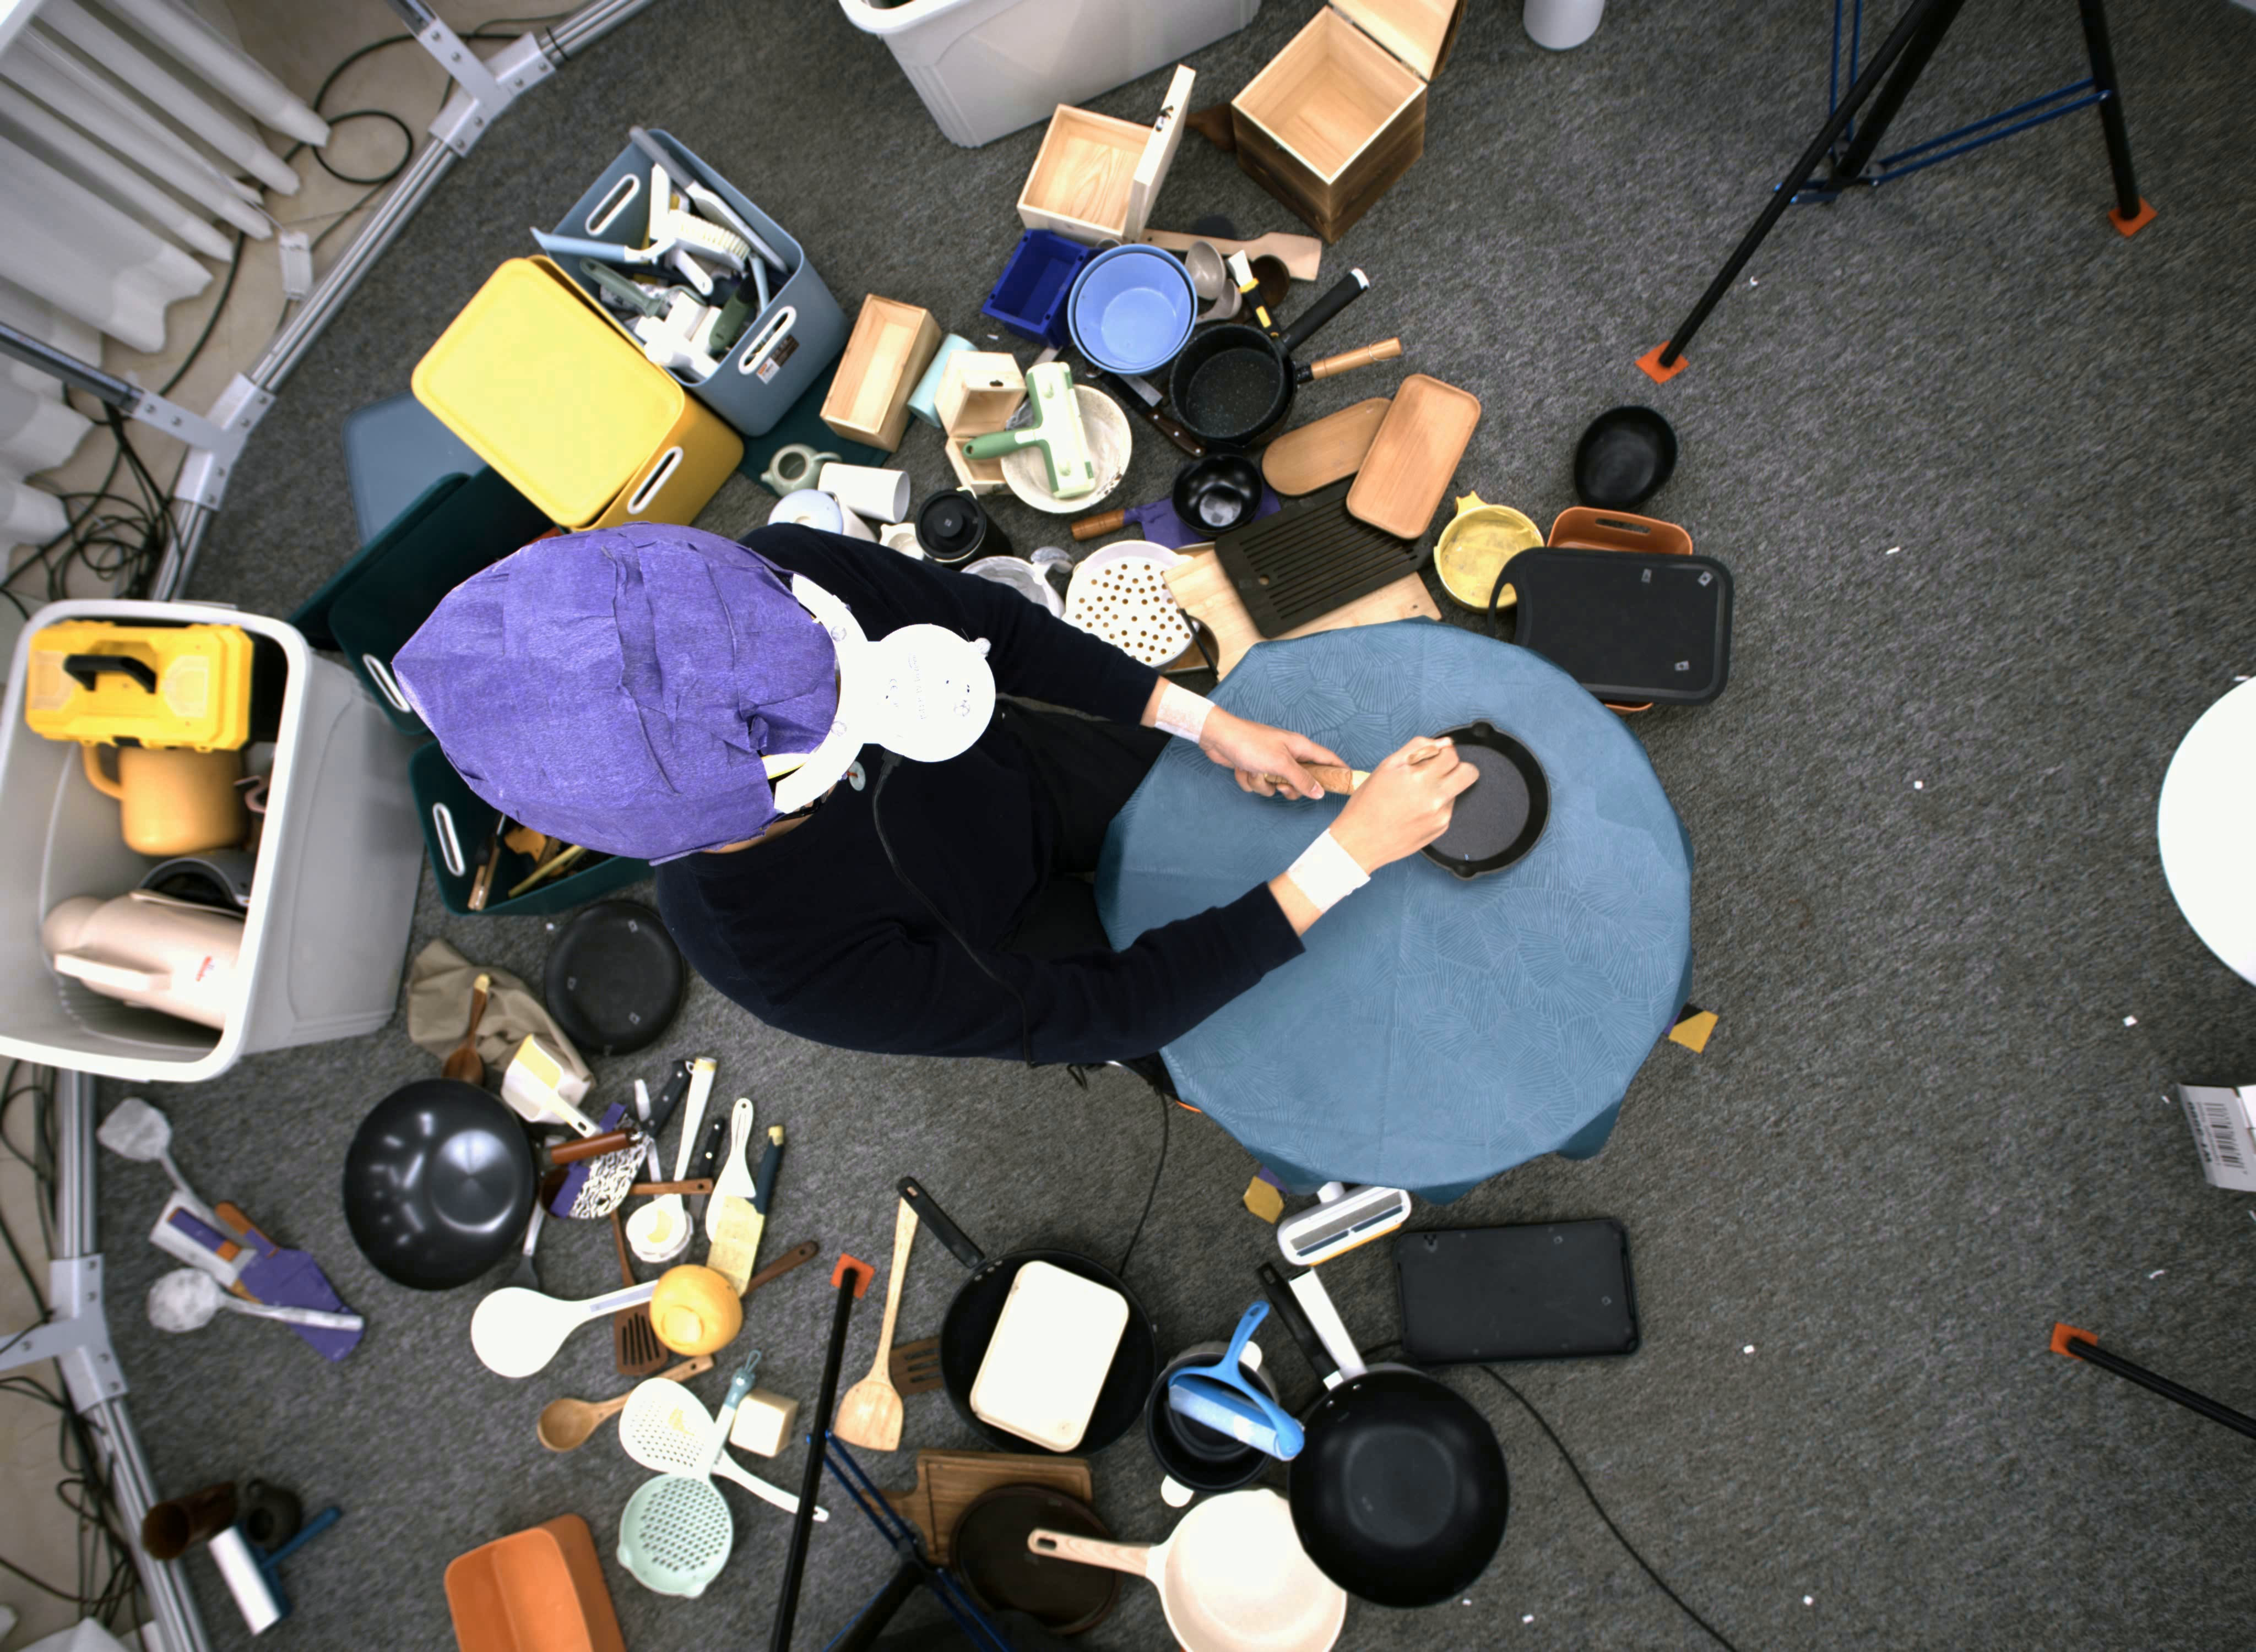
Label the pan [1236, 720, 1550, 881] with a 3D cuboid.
[{"bbox_3d":[0.274,-0.042,1.430,0.325,0.049,0.168,10,88,5],"label":"pan"}]

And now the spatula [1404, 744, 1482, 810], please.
[{"bbox_3d":[0.288,-0.049,1.295,0.081,0.327,0.016,-26,77,14],"label":"spatula"}]
